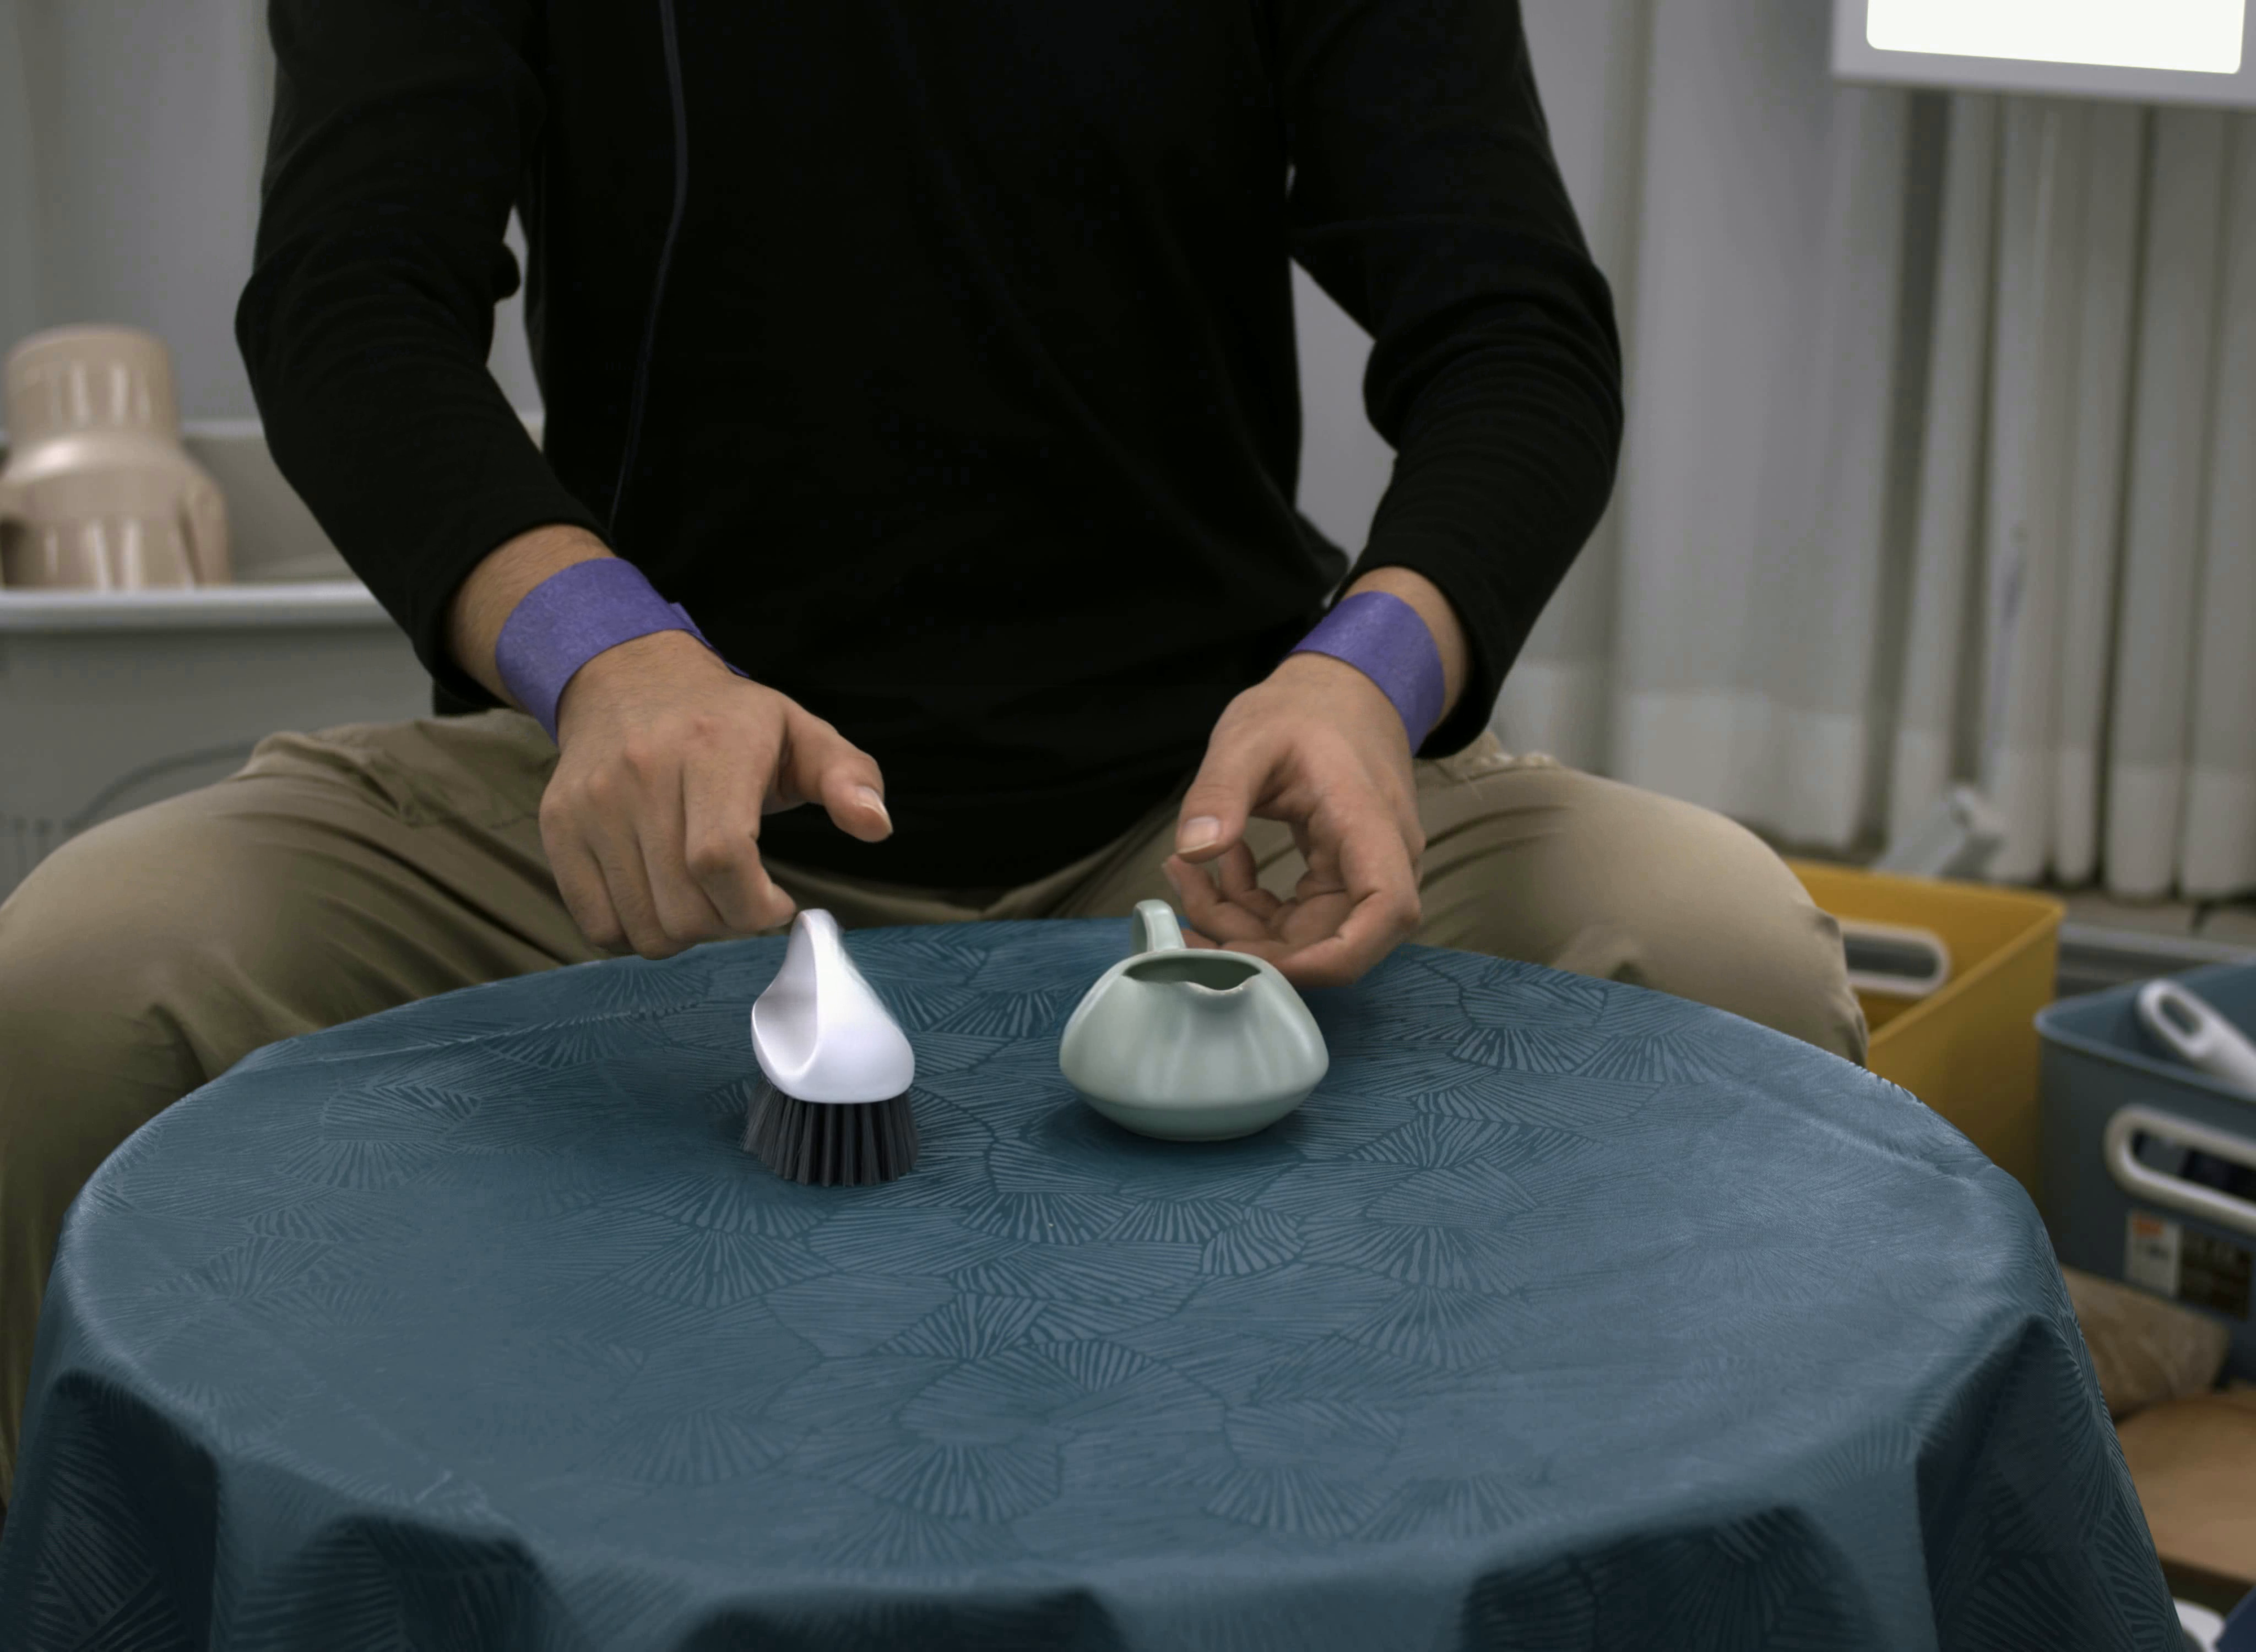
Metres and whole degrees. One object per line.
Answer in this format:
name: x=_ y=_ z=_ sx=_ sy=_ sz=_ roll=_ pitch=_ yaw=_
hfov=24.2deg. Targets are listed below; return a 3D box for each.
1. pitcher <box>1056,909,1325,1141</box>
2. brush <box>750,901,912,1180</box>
pitcher: x=0.017 y=0.065 z=1.692 sx=0.086 sy=0.061 sz=0.107 roll=-3 pitch=13 yaw=-16
brush: x=-0.094 y=0.062 z=1.658 sx=0.050 sy=0.073 sz=0.098 roll=-1 pitch=17 yaw=-7
